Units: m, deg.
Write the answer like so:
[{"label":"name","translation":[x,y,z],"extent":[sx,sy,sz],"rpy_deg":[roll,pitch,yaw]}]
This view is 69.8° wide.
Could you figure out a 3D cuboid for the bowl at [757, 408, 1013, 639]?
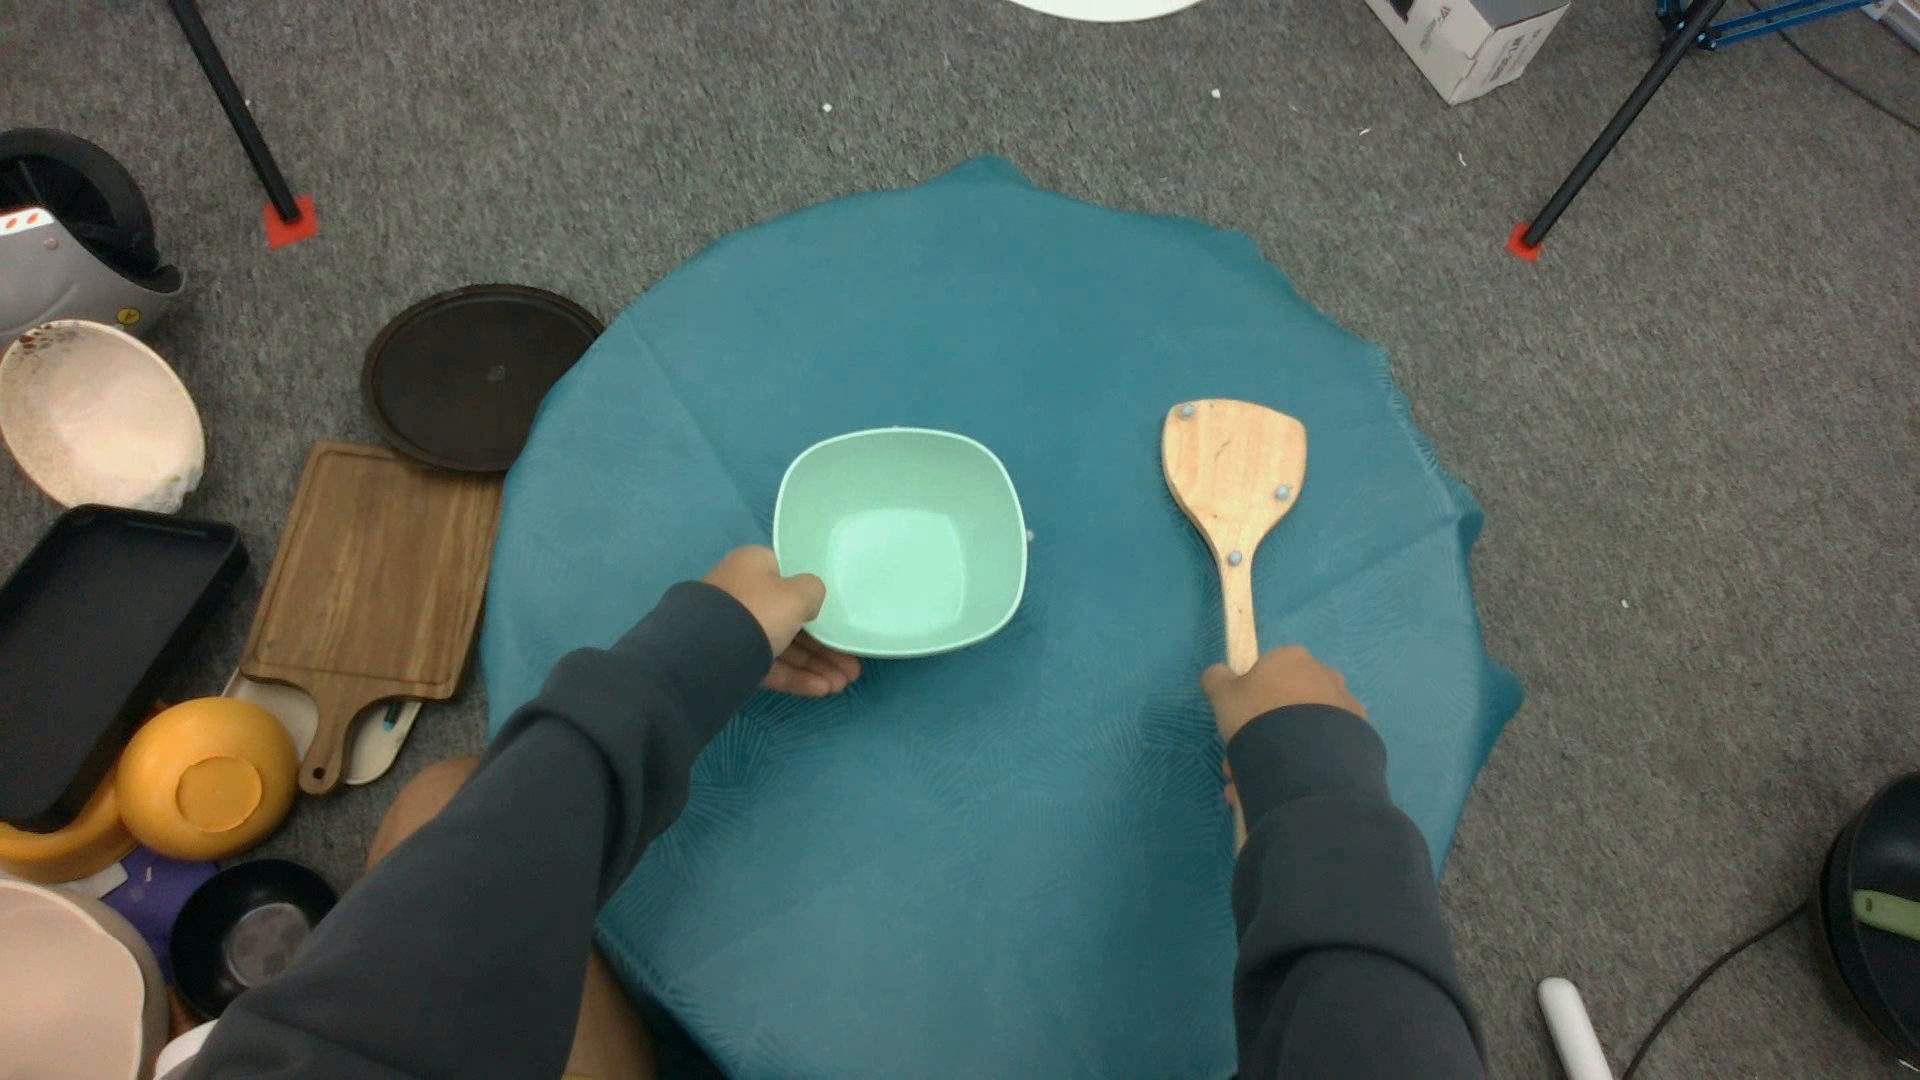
[{"label":"bowl","translation":[-0.043,-0.001,0.773],"extent":[0.151,0.058,0.152],"rpy_deg":[2,63,-5]}]

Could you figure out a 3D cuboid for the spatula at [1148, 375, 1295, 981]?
[{"label":"spatula","translation":[0.164,0.057,0.797],"extent":[0.096,0.018,0.392],"rpy_deg":[4,55,-3]}]
